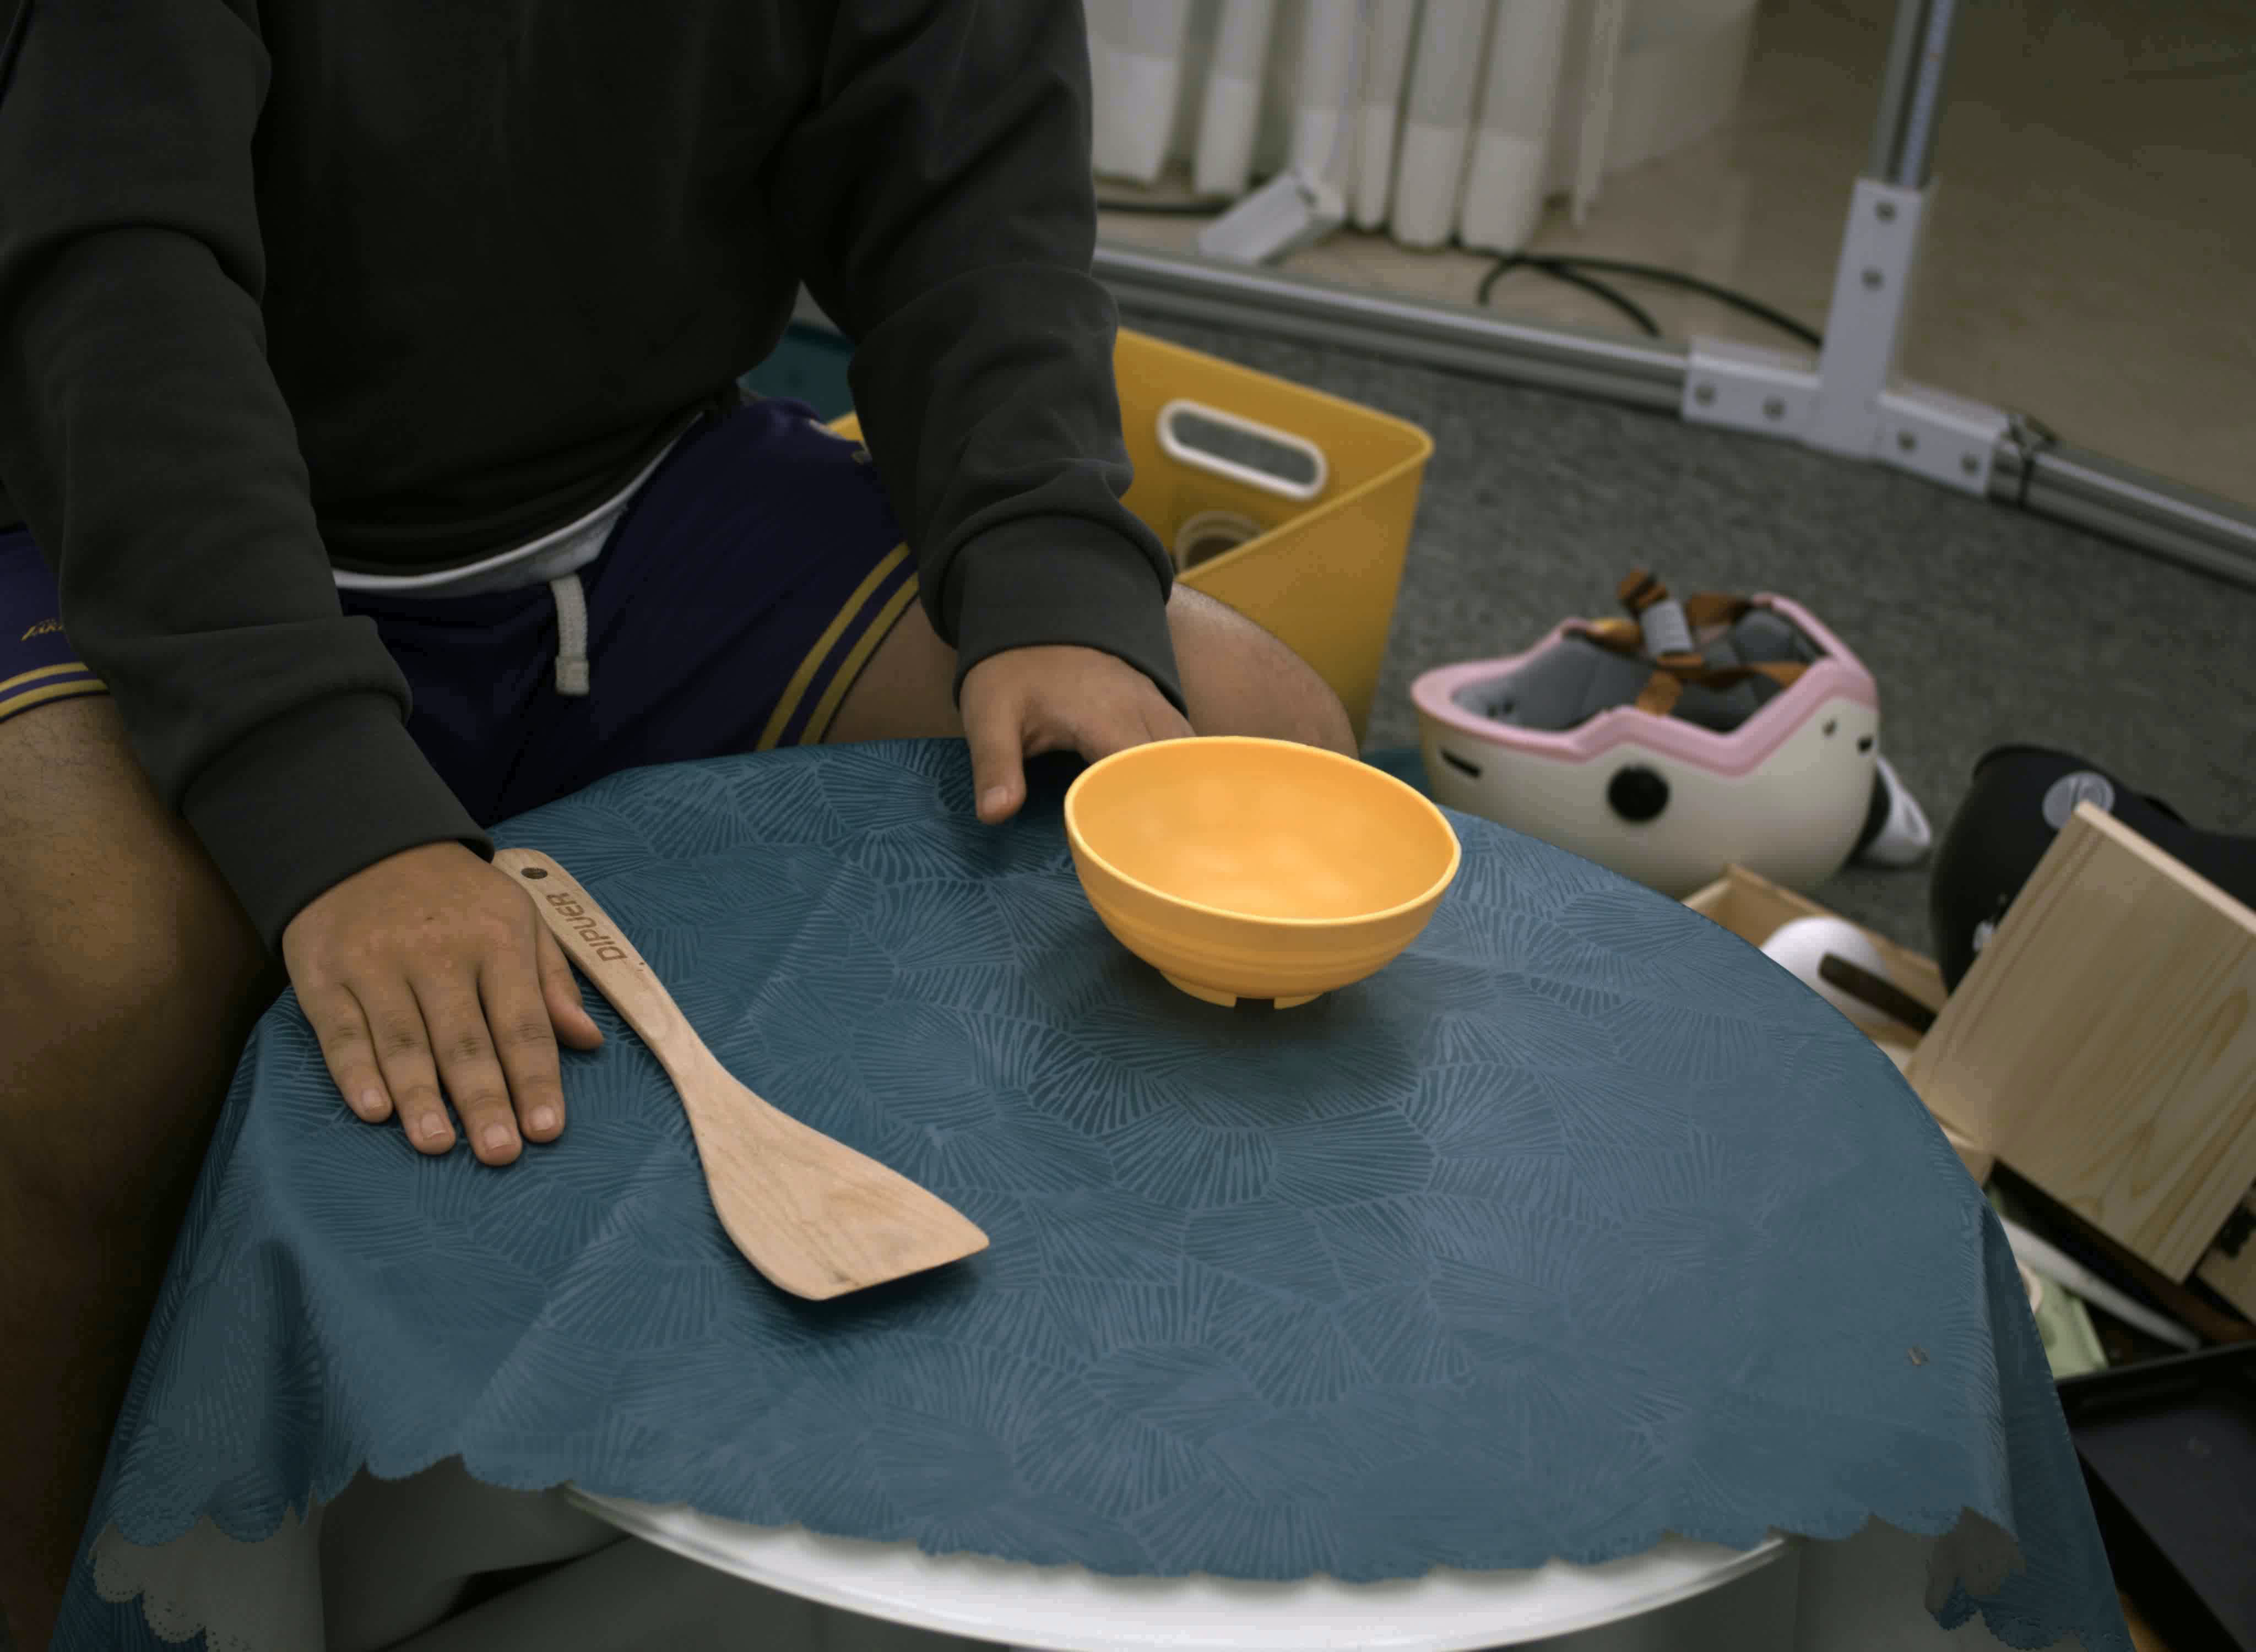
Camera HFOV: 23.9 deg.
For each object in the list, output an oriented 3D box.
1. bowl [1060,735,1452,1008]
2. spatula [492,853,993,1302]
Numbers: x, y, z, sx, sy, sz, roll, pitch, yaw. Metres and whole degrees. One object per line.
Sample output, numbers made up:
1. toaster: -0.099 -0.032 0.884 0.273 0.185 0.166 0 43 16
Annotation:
1. bowl: 0.043 0.025 1.940 0.145 0.060 0.146 7 26 -4
2. spatula: -0.148 0.080 1.836 0.079 0.016 0.330 -9 31 -27
